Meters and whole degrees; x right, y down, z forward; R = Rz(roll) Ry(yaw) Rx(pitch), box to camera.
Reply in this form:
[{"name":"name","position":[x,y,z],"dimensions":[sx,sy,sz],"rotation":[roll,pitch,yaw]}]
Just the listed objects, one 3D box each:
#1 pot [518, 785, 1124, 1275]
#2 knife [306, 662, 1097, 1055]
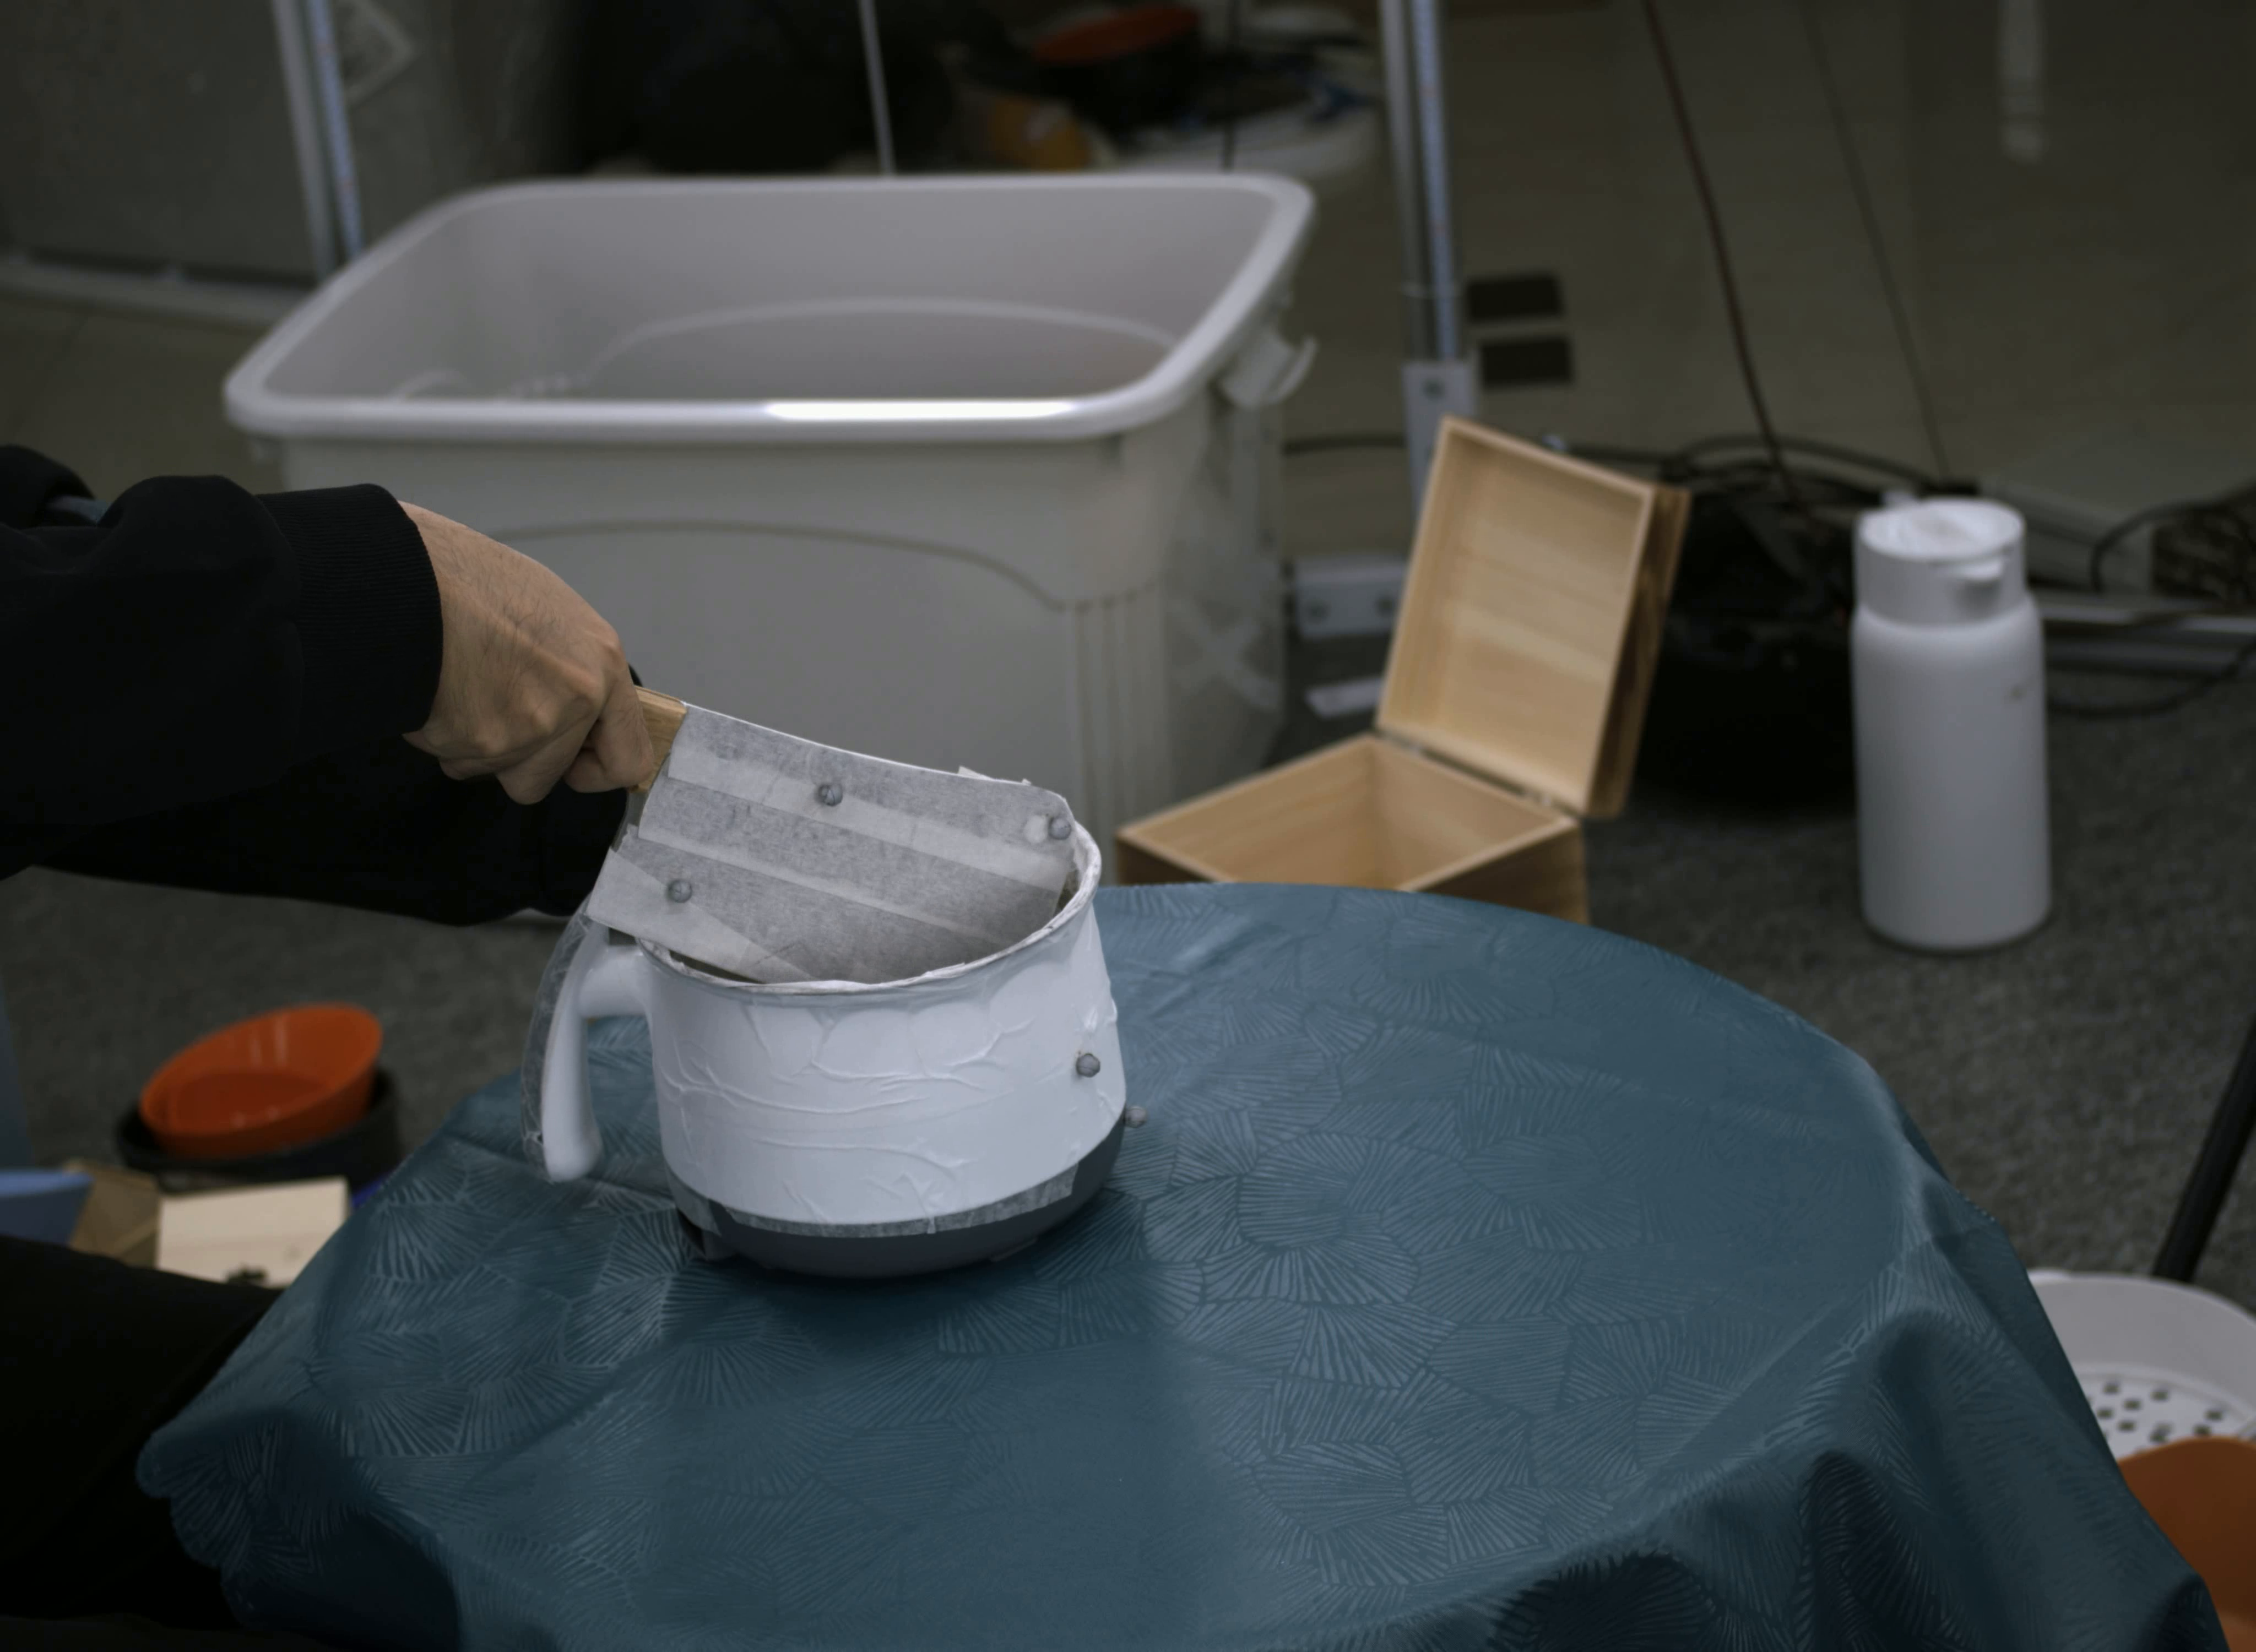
[{"name":"pot","position":[-0.119,0.079,2.137],"dimensions":[0.233,0.139,0.176],"rotation":[-2,25,7]},{"name":"knife","position":[-0.148,0.001,2.052],"dimensions":[0.316,0.113,0.022],"rotation":[19,-15,-20]}]
